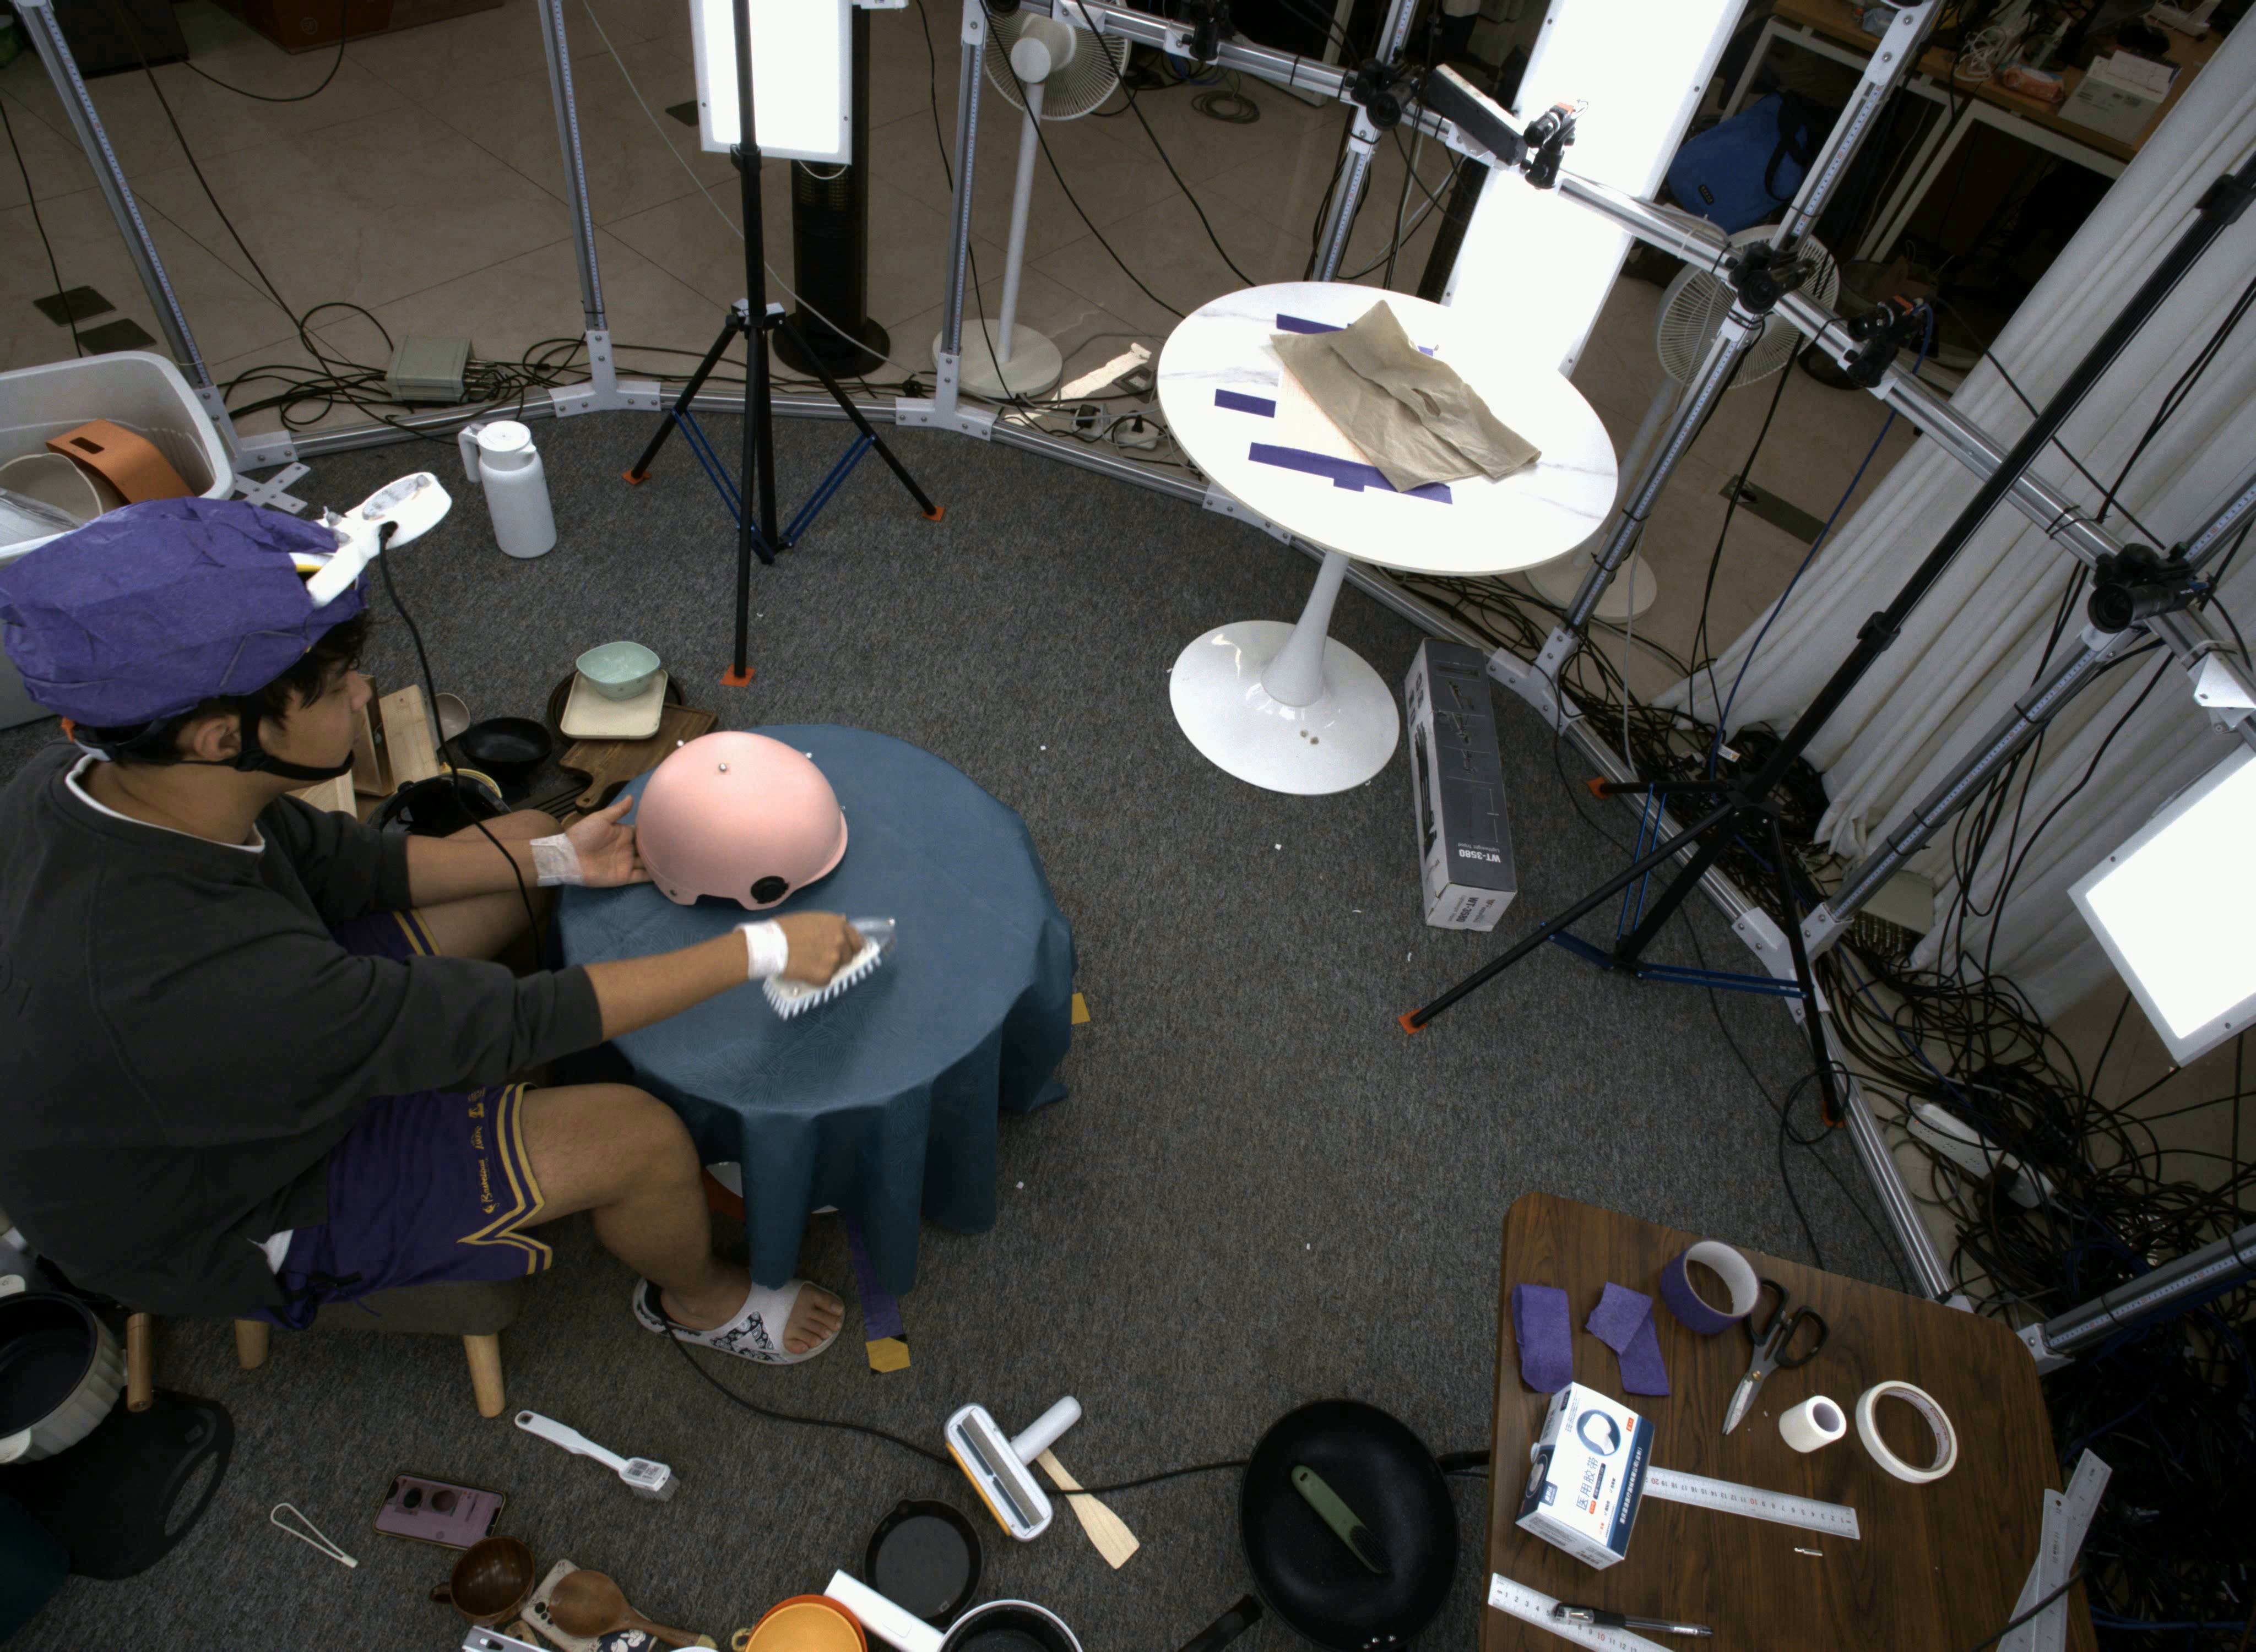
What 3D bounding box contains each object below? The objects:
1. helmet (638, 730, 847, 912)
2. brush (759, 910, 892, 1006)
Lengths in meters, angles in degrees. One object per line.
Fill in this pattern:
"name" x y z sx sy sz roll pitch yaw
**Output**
"helmet" -0.487 -0.028 1.636 0.267 0.162 0.228 -3 53 -20
"brush" -0.349 0.136 1.535 0.177 0.096 0.060 -24 60 -37
